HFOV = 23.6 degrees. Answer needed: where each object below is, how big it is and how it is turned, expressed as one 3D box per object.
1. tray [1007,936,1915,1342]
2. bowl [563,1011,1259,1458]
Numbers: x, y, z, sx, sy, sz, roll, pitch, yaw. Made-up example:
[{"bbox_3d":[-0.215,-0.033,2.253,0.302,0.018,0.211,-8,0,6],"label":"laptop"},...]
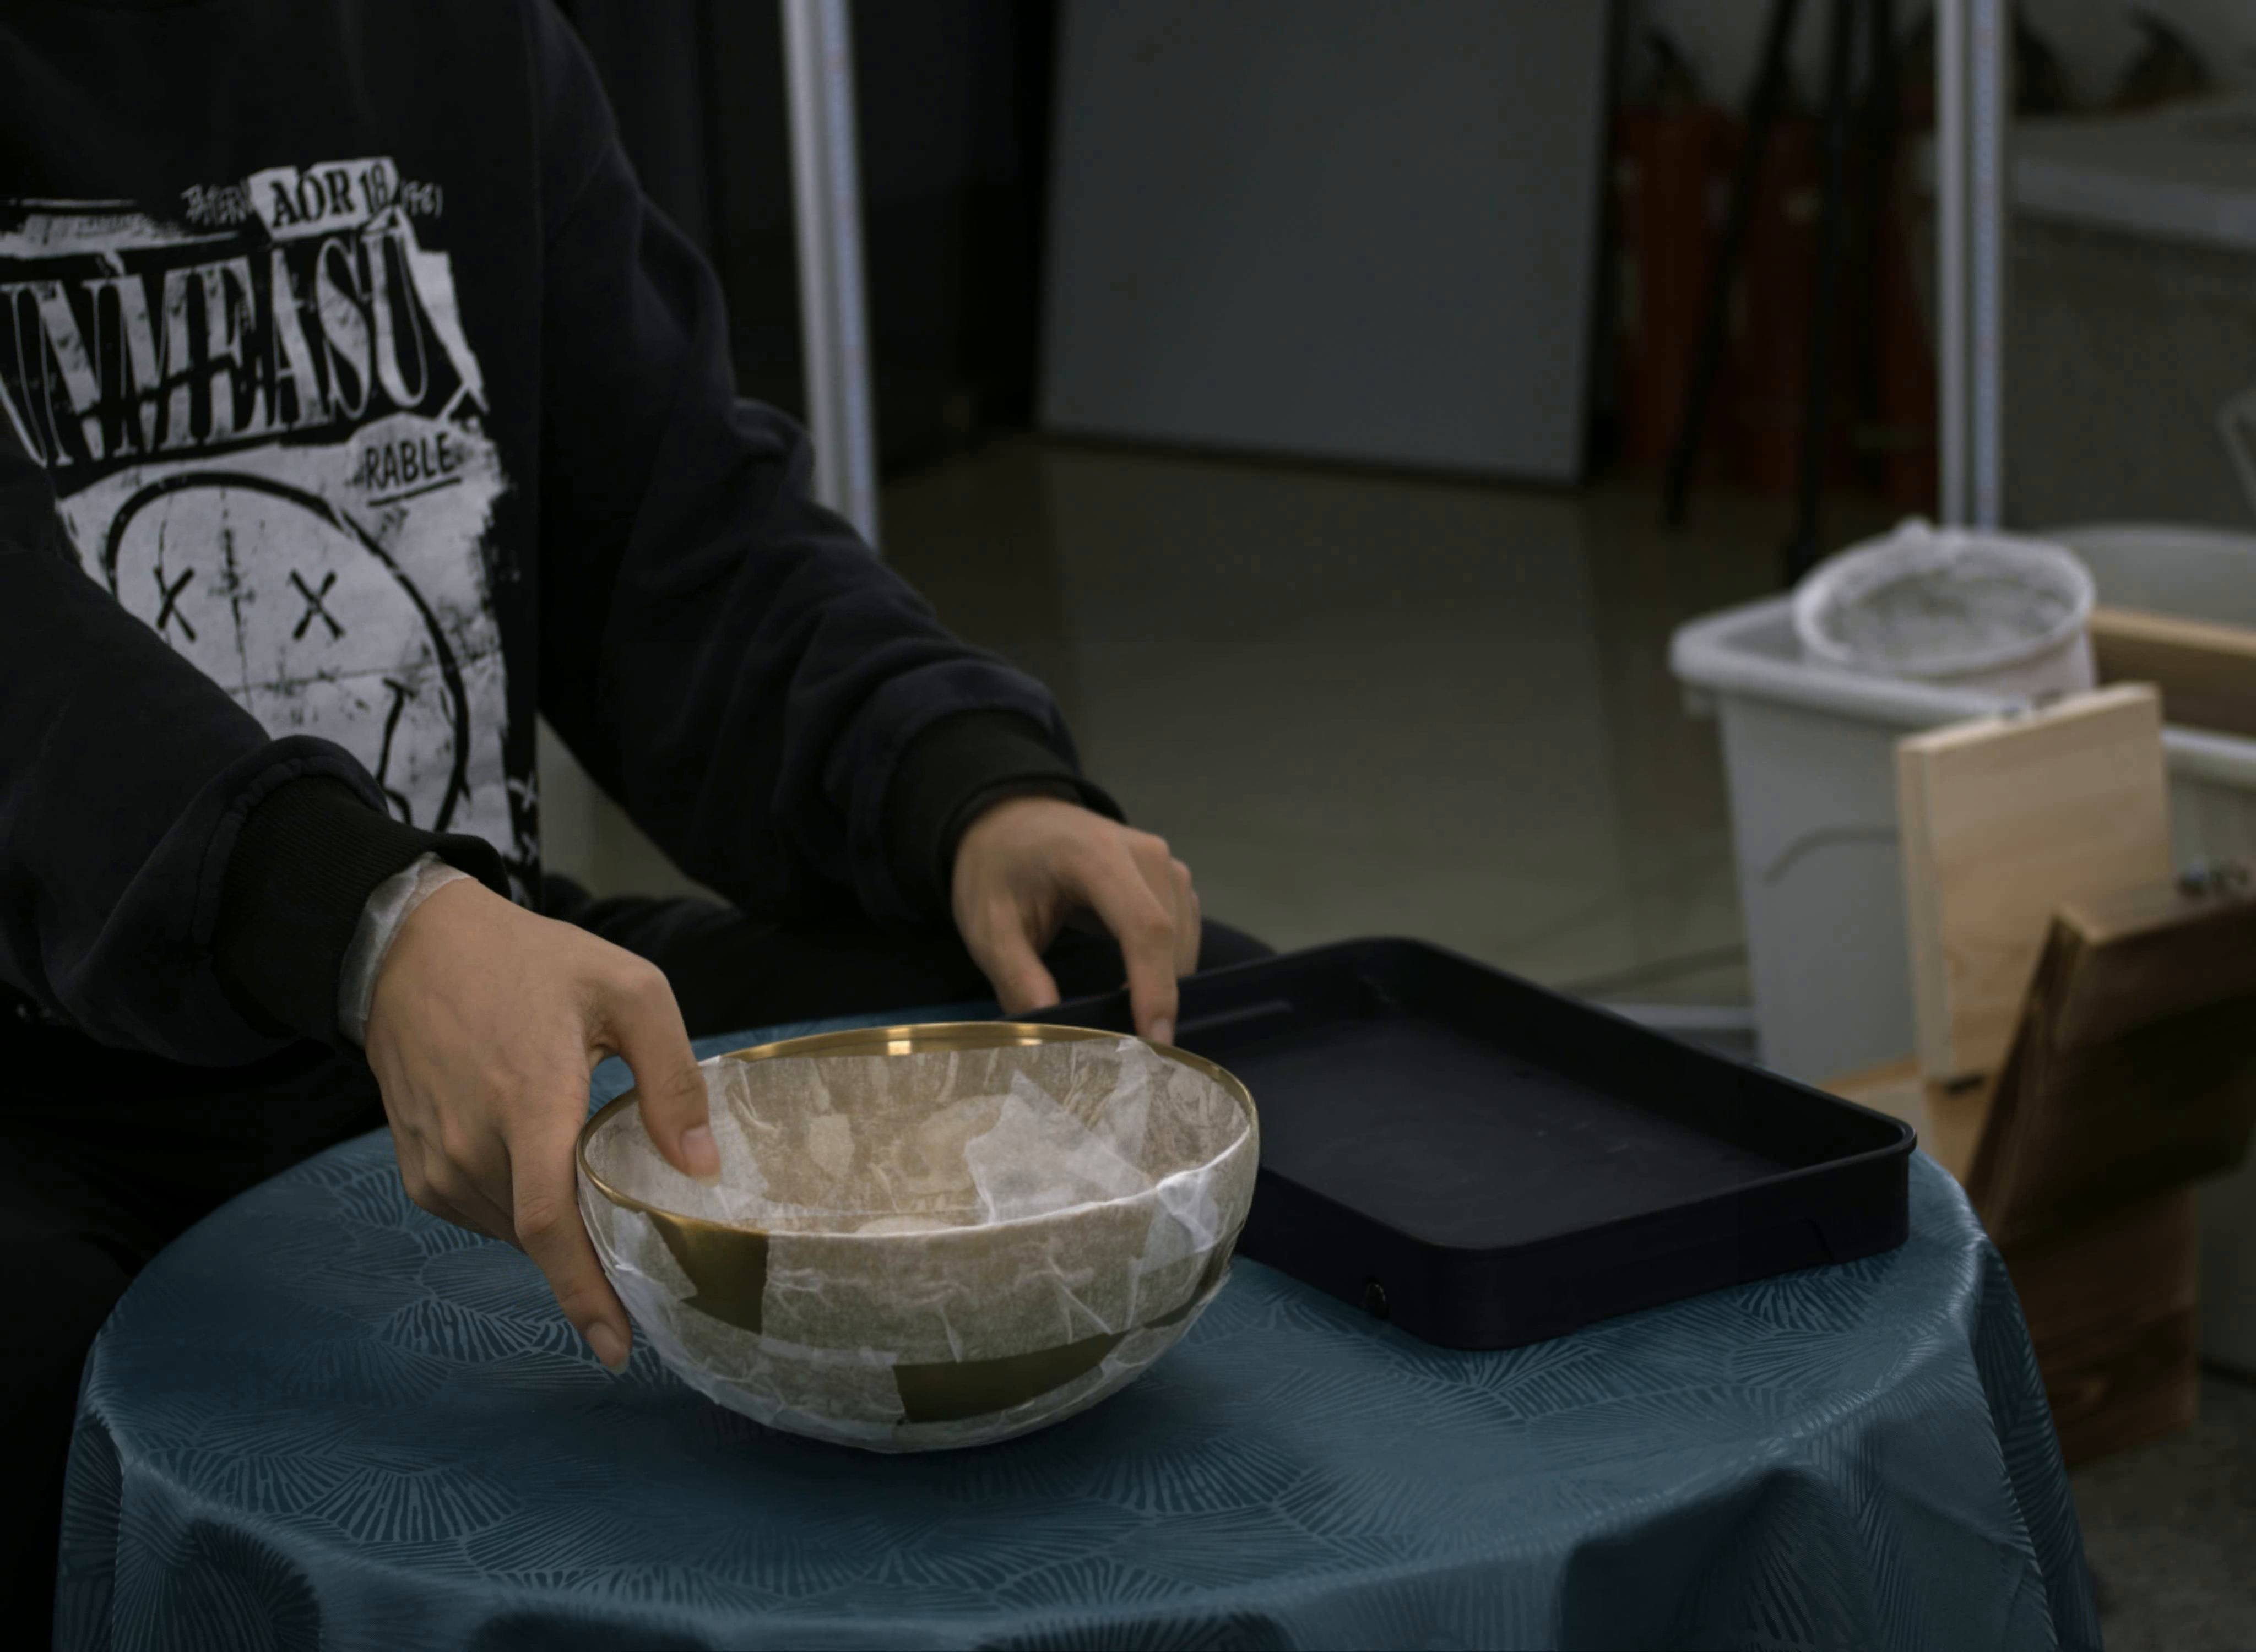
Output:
[{"bbox_3d":[0.099,0.097,1.758,0.180,0.037,0.321,-13,15,-26],"label":"tray"},{"bbox_3d":[-0.059,0.126,1.574,0.212,0.095,0.215,-5,15,0],"label":"bowl"}]
